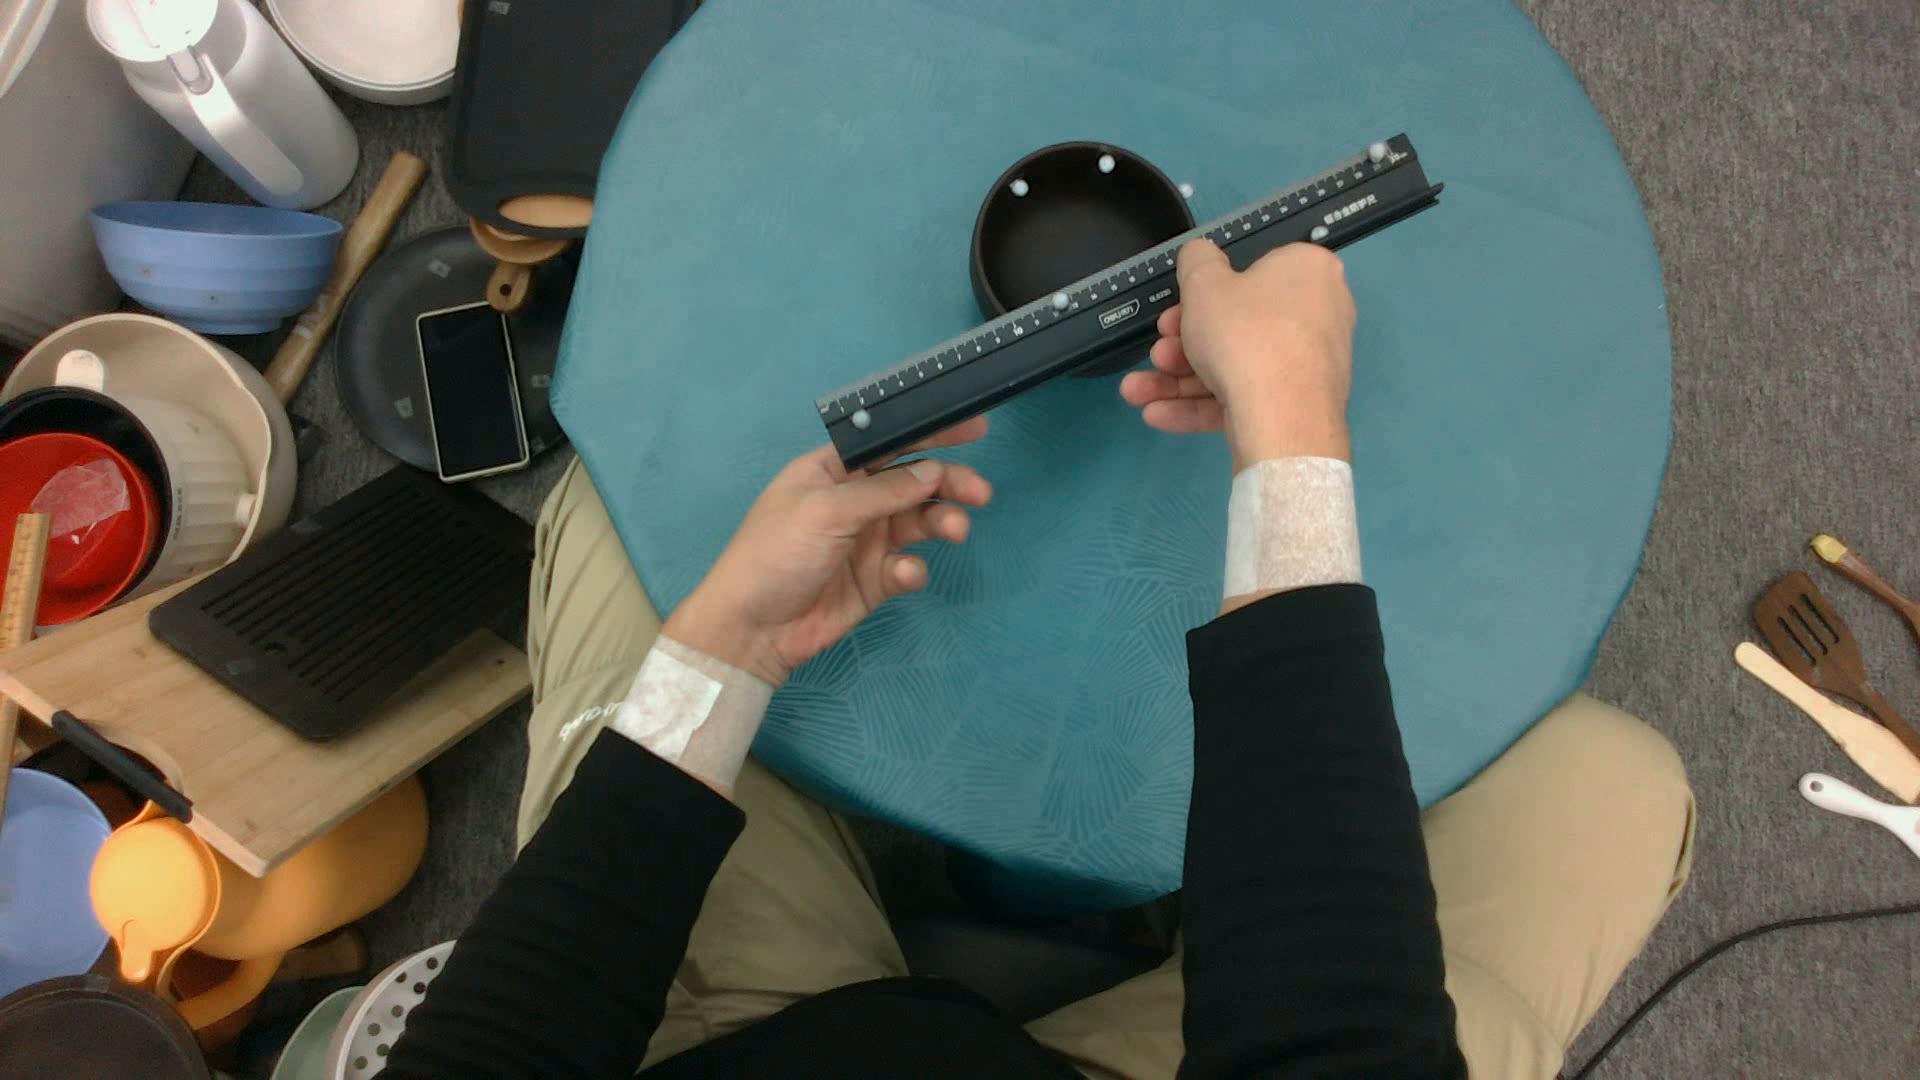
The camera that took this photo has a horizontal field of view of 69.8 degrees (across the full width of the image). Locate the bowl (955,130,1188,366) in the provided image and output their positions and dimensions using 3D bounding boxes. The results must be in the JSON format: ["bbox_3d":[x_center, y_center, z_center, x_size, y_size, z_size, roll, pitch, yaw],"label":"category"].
[{"bbox_3d":[0.055,-0.143,0.710,0.118,0.069,0.118,1,73,-3],"label":"bowl"}]

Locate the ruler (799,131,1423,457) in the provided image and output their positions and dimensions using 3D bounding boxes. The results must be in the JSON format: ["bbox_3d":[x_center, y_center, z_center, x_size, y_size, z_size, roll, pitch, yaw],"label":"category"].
[{"bbox_3d":[0.075,-0.119,0.643,0.313,0.017,0.039,-25,90,-7],"label":"ruler"}]
